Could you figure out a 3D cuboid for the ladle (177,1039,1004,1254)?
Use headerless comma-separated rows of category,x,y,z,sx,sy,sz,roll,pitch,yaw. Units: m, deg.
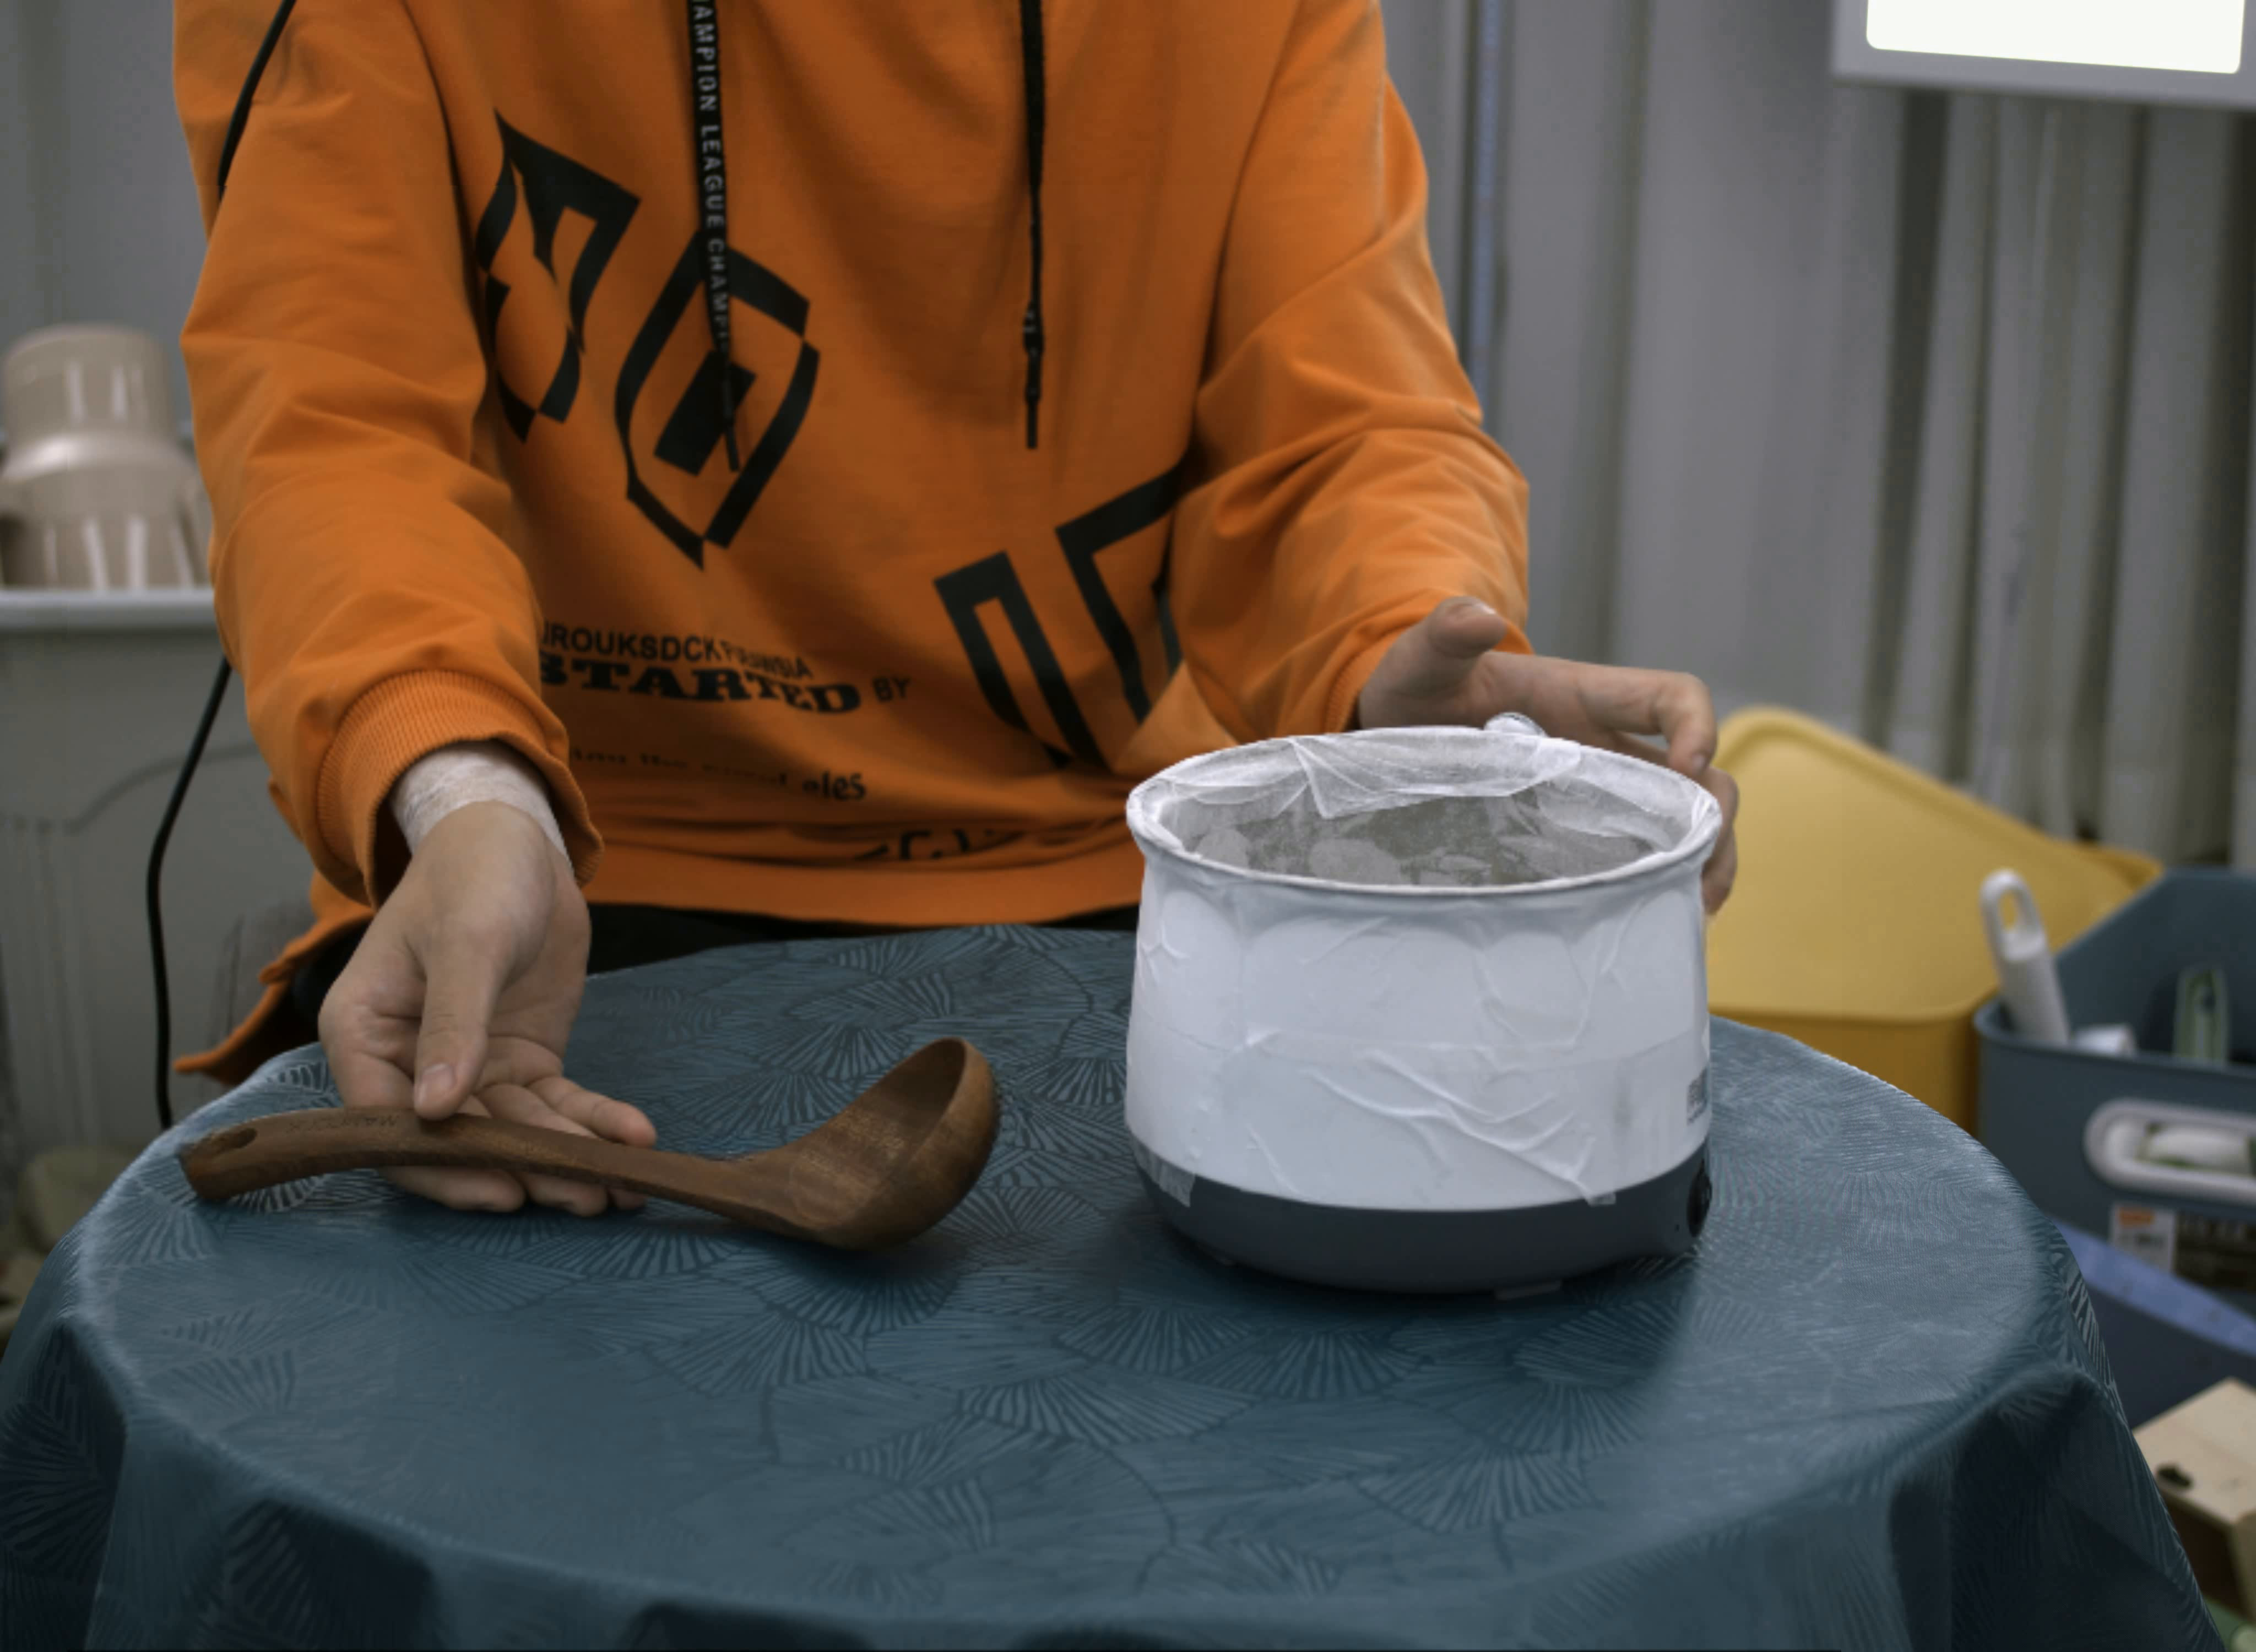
ladle,-0.164,0.090,1.579,0.258,0.066,0.076,4,30,9

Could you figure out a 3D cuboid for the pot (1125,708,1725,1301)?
pot,0.096,0.047,1.602,0.177,0.138,0.233,6,17,16
